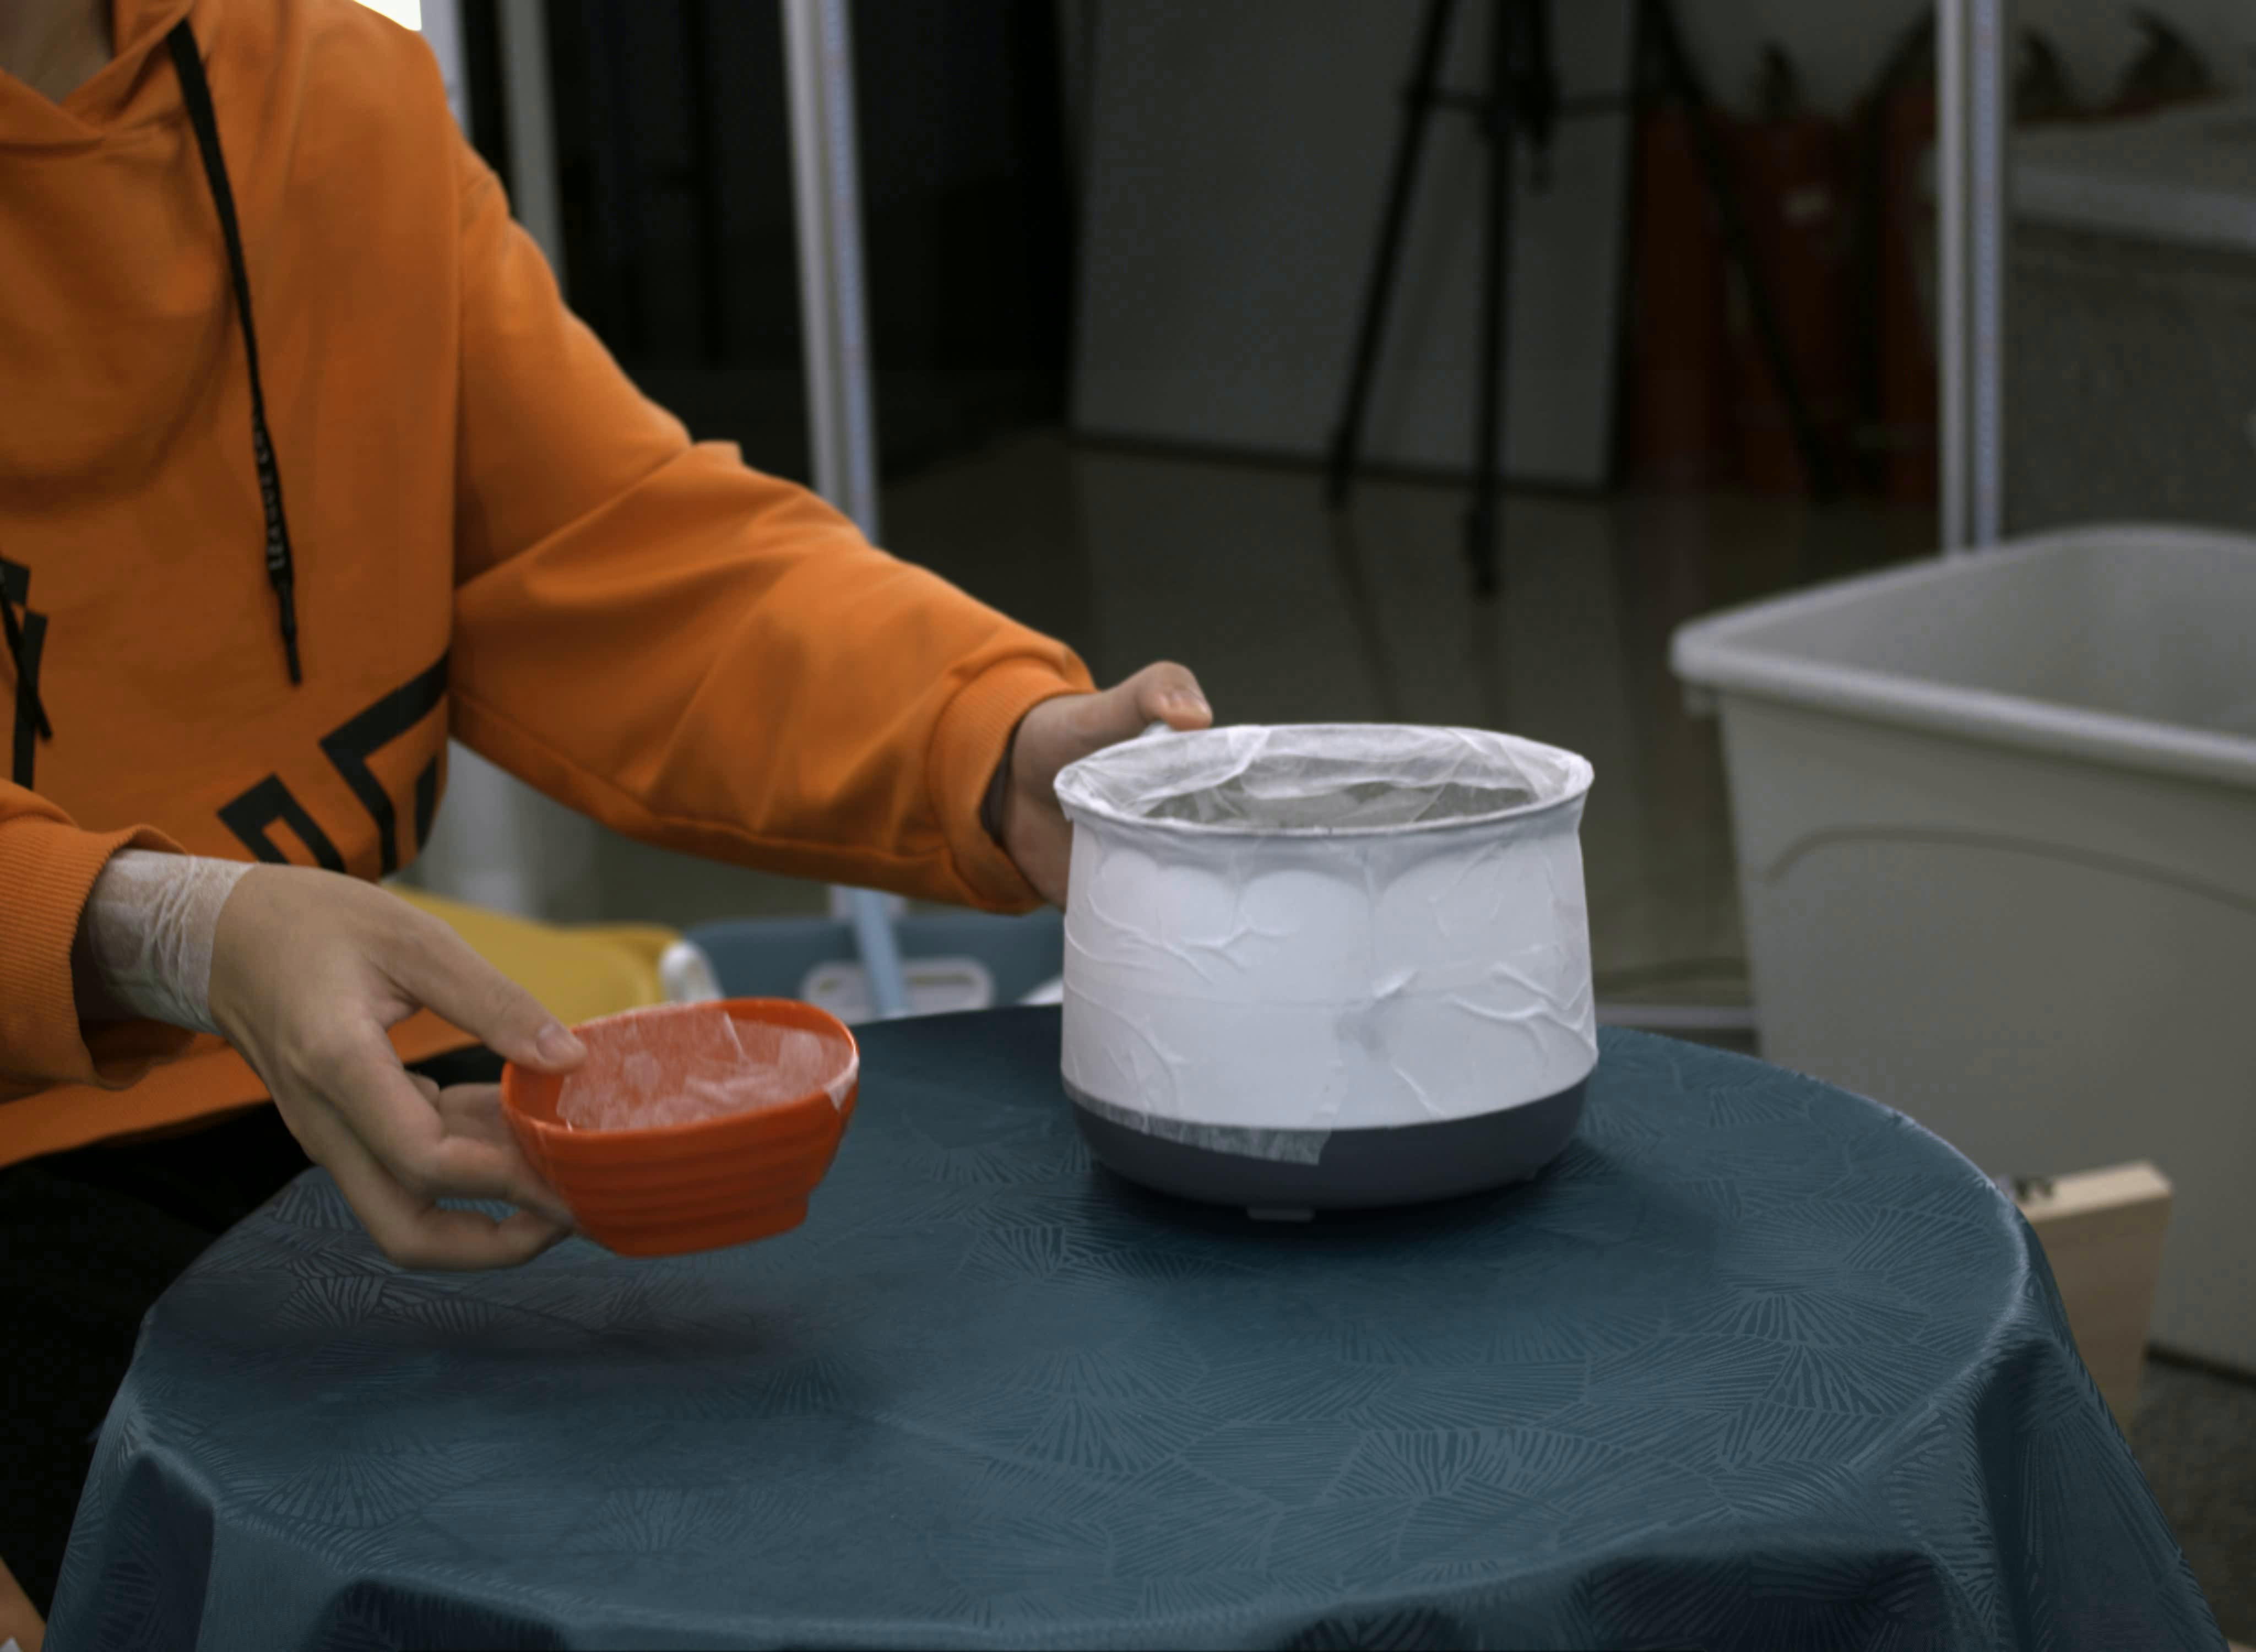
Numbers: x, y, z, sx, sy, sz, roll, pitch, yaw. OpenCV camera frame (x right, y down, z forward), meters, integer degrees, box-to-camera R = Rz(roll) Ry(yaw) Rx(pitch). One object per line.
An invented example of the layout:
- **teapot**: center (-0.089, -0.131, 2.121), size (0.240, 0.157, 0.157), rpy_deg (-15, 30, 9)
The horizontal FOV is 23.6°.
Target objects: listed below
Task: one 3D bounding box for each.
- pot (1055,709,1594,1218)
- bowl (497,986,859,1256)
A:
- **pot**: center (0.050, 0.039, 1.781), size (0.174, 0.138, 0.236), rpy_deg (-8, 12, -30)
- **bowl**: center (-0.134, 0.092, 1.650), size (0.117, 0.052, 0.119), rpy_deg (-7, 18, 1)
